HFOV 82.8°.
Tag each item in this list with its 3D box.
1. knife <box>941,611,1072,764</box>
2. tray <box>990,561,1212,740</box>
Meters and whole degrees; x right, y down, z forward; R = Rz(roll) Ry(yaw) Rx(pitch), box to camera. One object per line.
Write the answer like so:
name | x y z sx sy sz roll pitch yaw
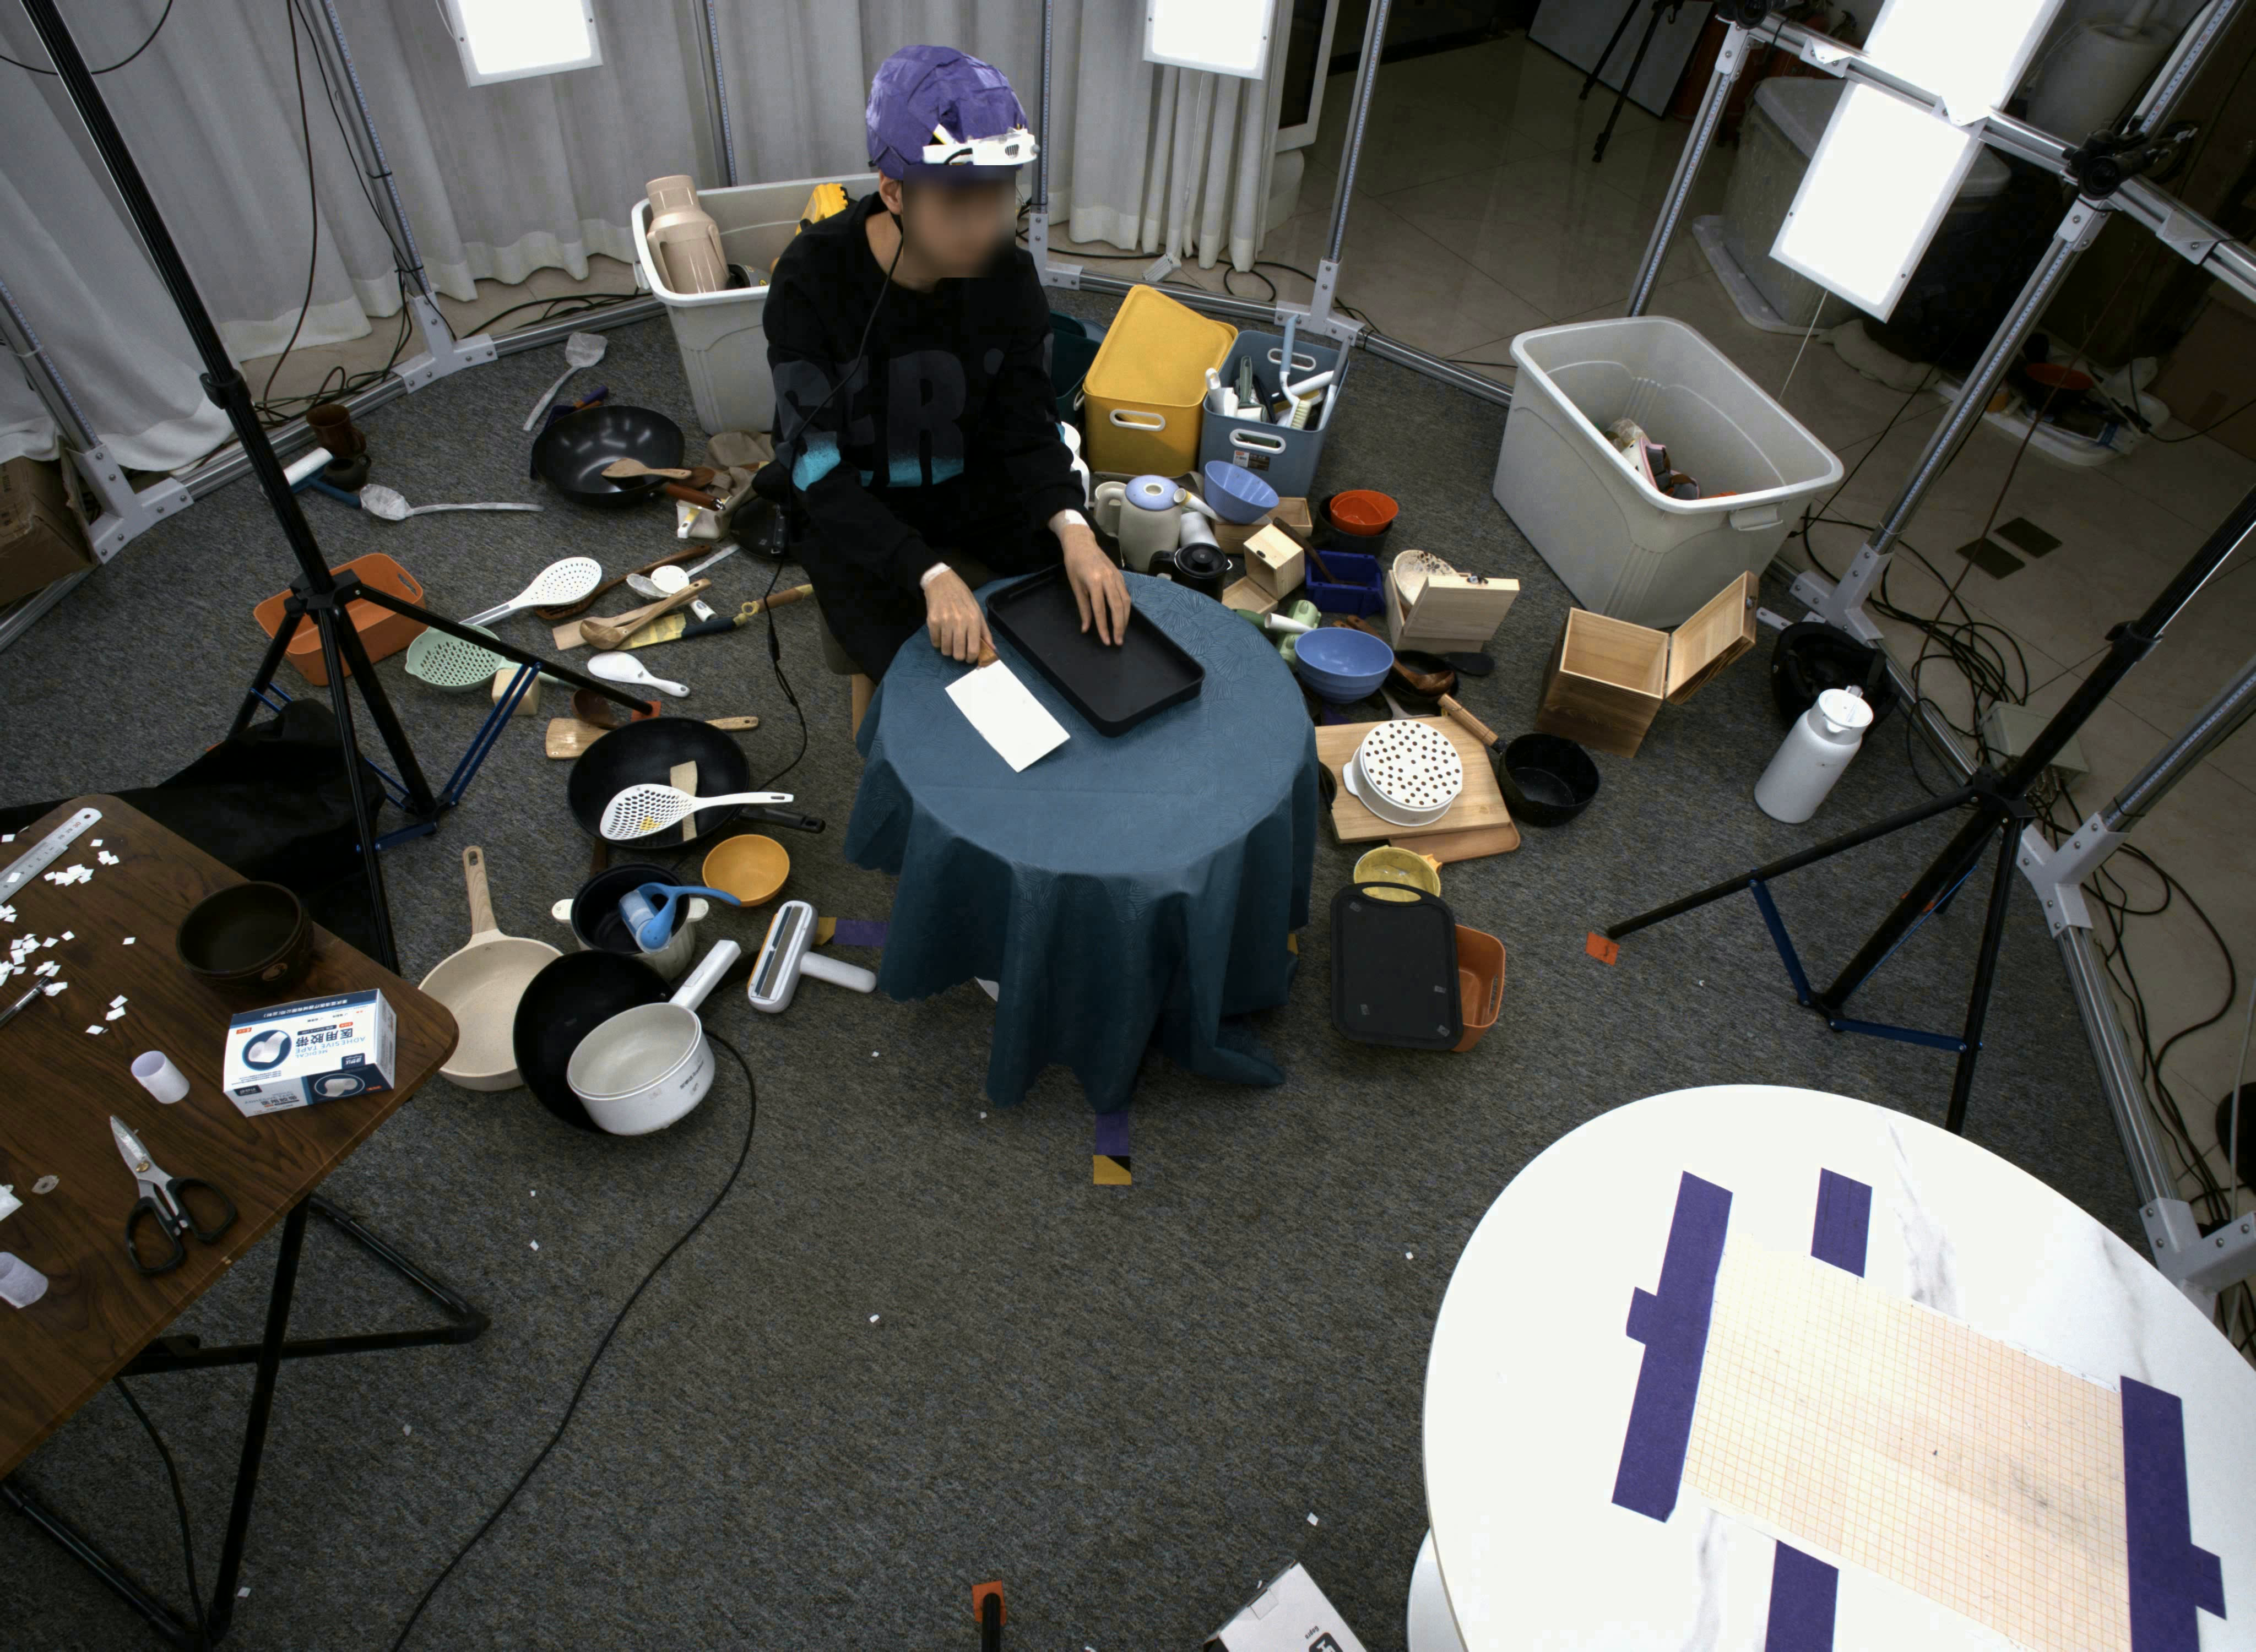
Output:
knife | -0.196 -0.195 1.810 0.093 0.020 0.311 -34 58 -13
tray | -0.042 -0.261 1.869 0.185 0.036 0.323 -30 57 -26
